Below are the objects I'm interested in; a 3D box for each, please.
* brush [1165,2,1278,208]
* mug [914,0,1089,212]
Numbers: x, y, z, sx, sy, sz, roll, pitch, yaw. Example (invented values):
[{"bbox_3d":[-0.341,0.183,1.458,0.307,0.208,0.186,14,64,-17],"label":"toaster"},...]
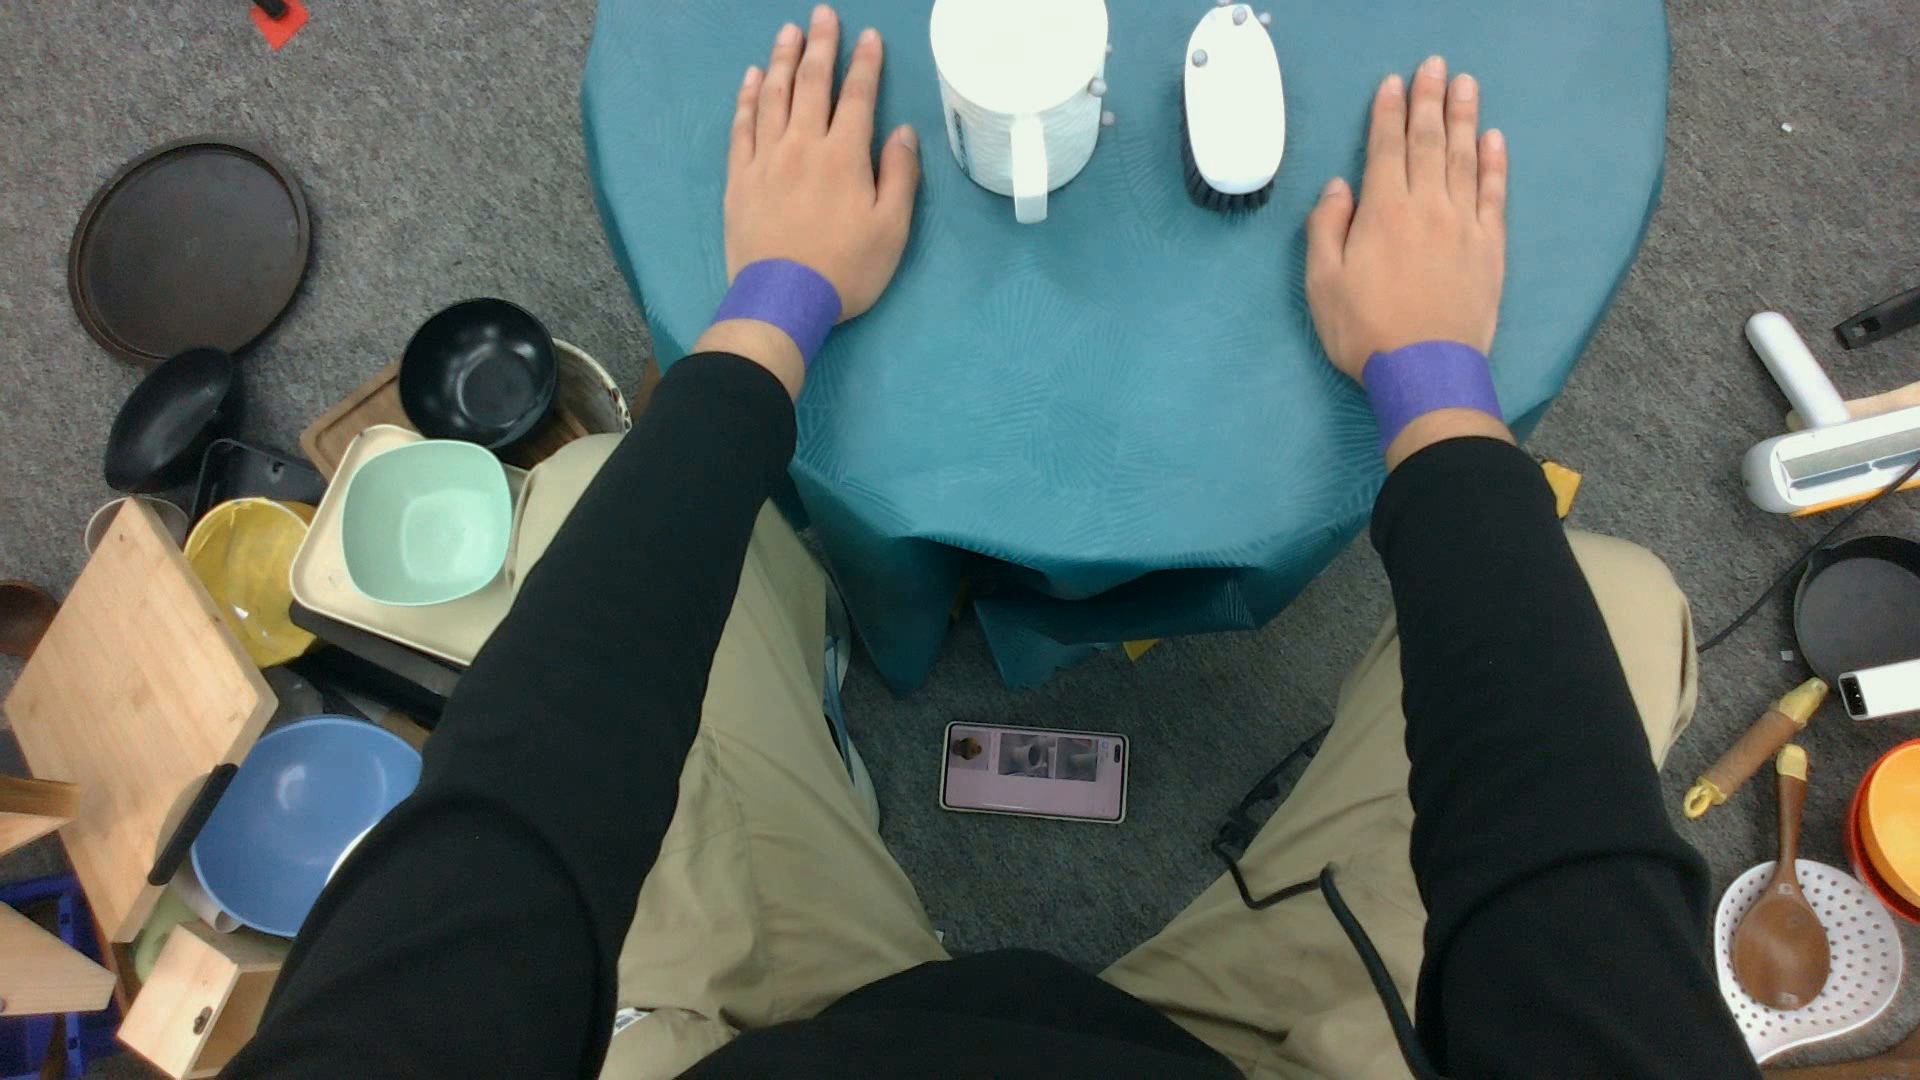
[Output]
[{"bbox_3d":[0.138,-0.234,0.722,0.050,0.072,0.099,-13,74,5],"label":"brush"},{"bbox_3d":[0.023,-0.227,0.710,0.085,0.102,0.118,-6,79,1],"label":"mug"}]
